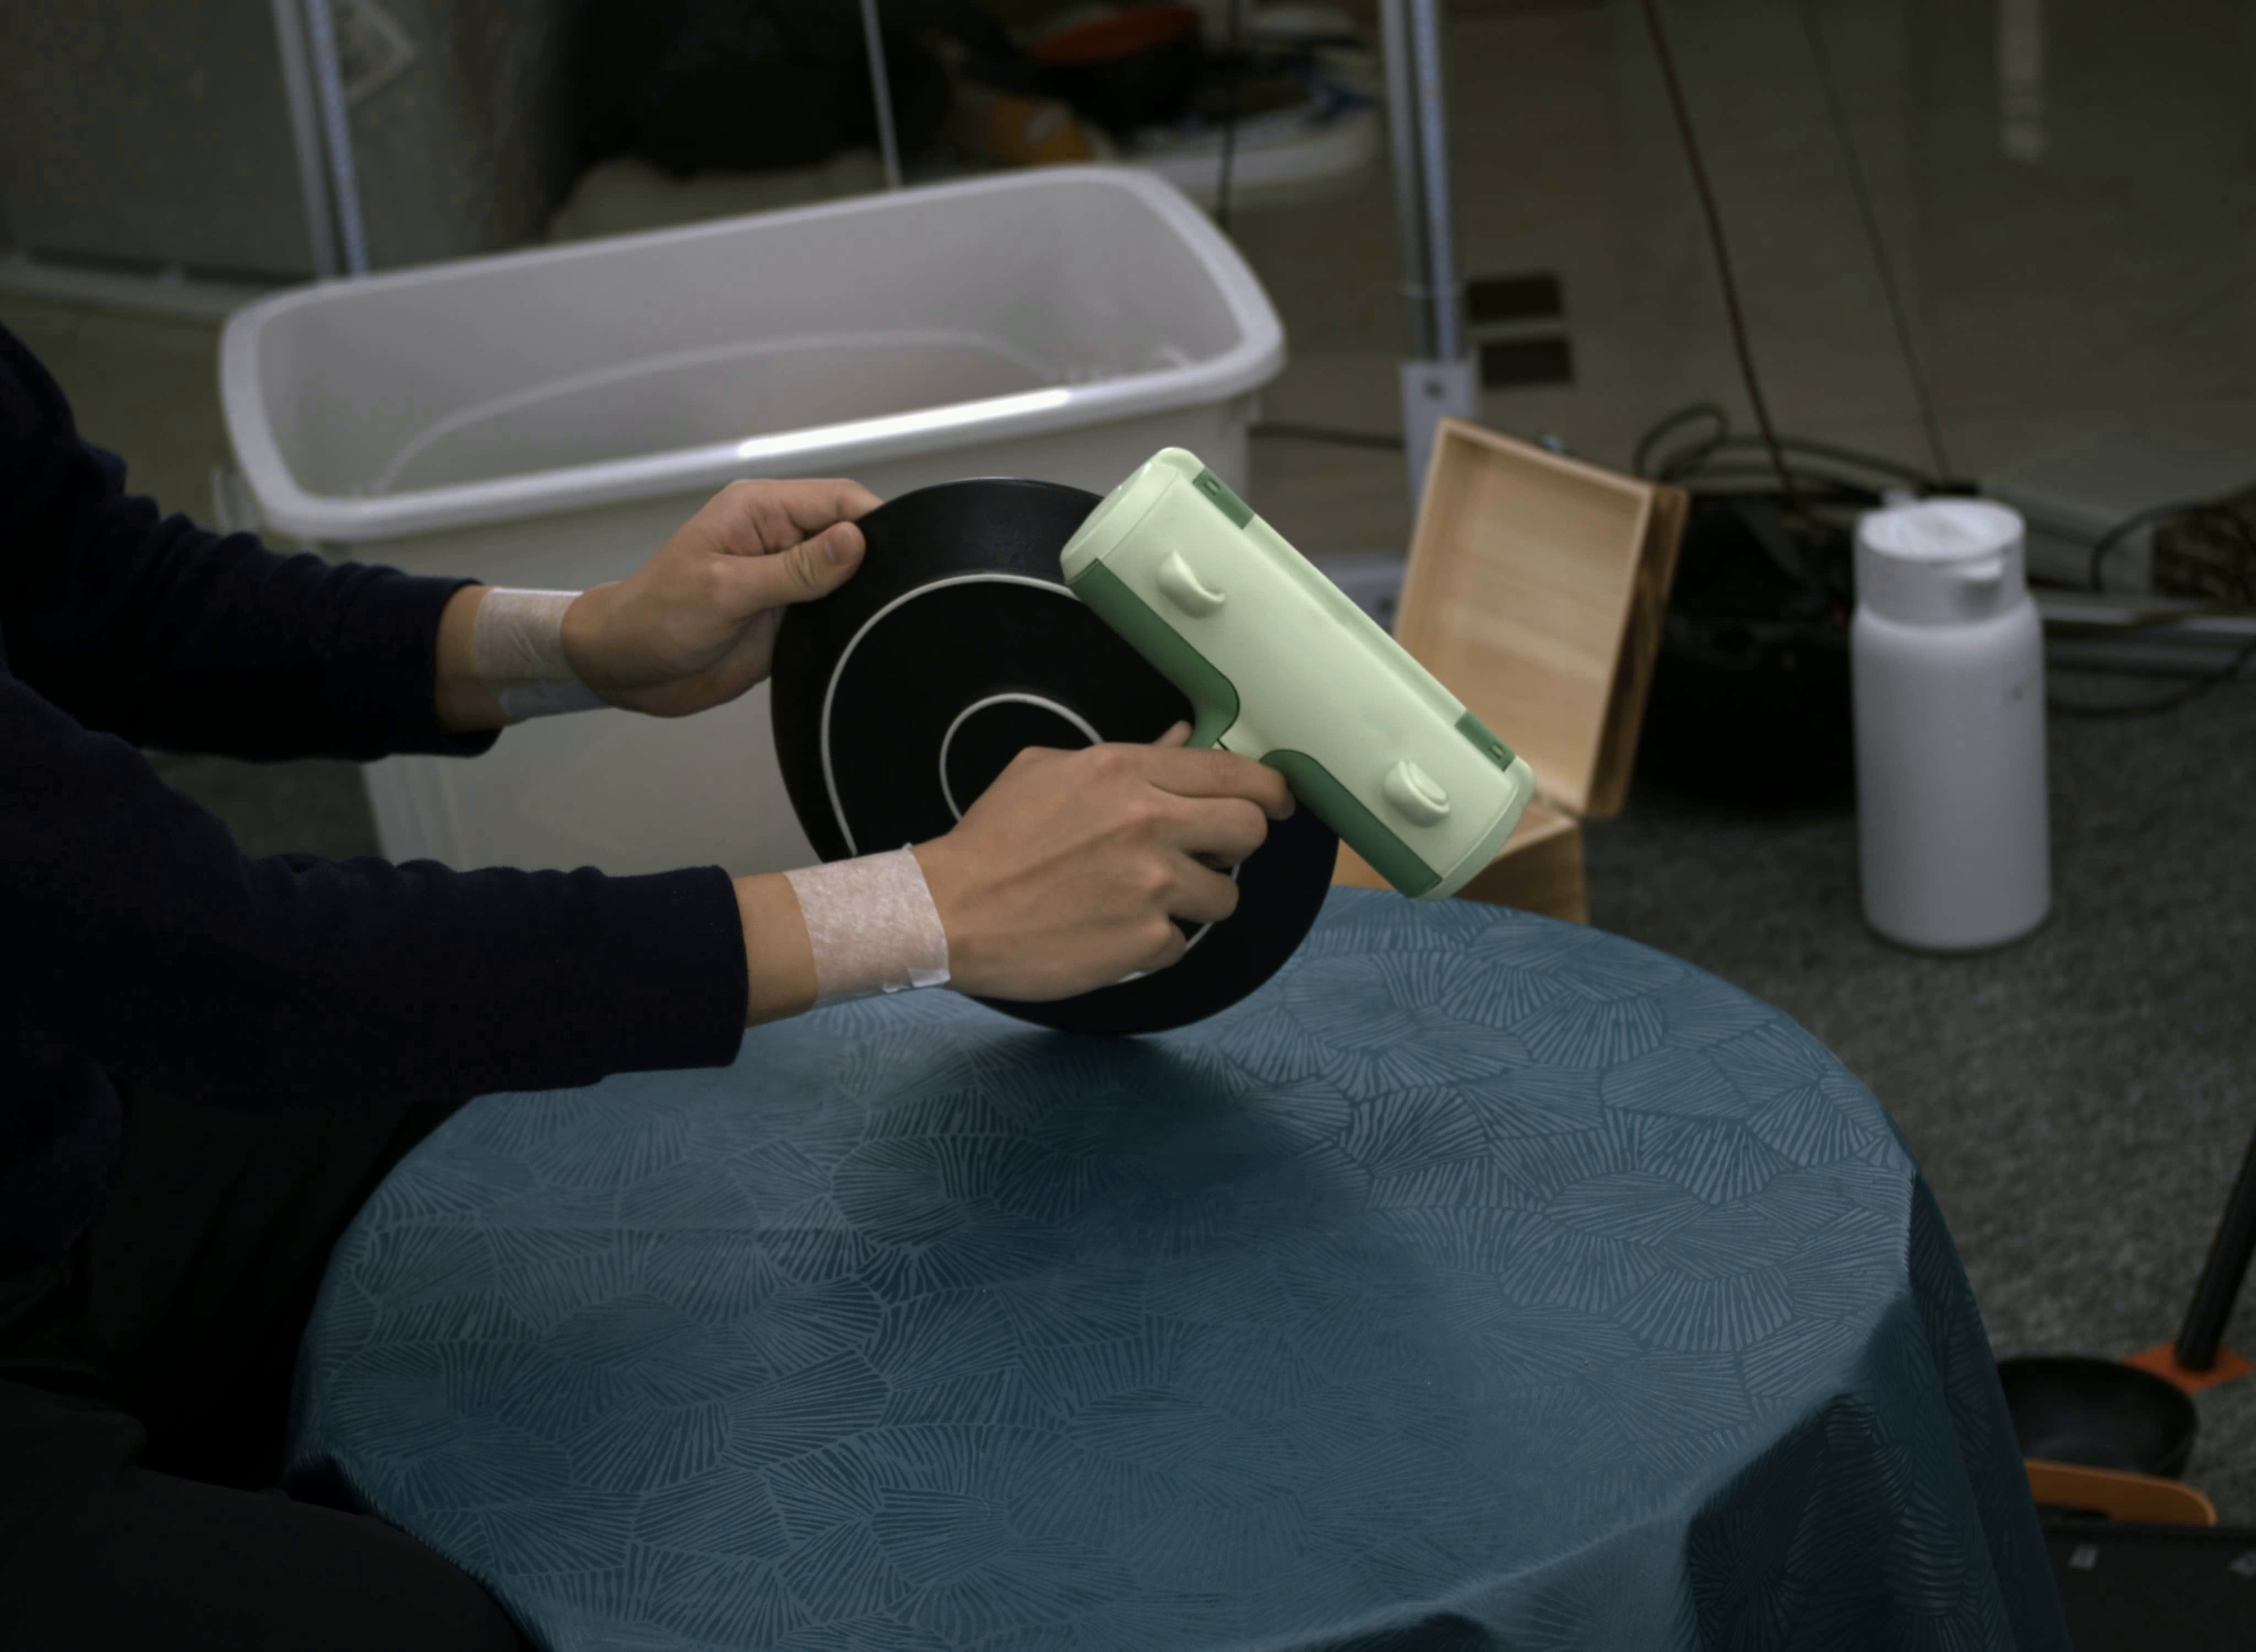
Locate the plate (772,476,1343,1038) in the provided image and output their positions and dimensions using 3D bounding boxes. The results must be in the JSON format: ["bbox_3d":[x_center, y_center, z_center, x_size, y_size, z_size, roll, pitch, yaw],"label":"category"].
[{"bbox_3d":[-0.033,-0.021,2.204,0.243,0.248,0.023,5,30,23],"label":"plate"}]

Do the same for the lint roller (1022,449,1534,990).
[{"bbox_3d":[0.029,-0.013,2.099,0.182,0.199,0.082,-51,9,-15],"label":"lint roller"}]
